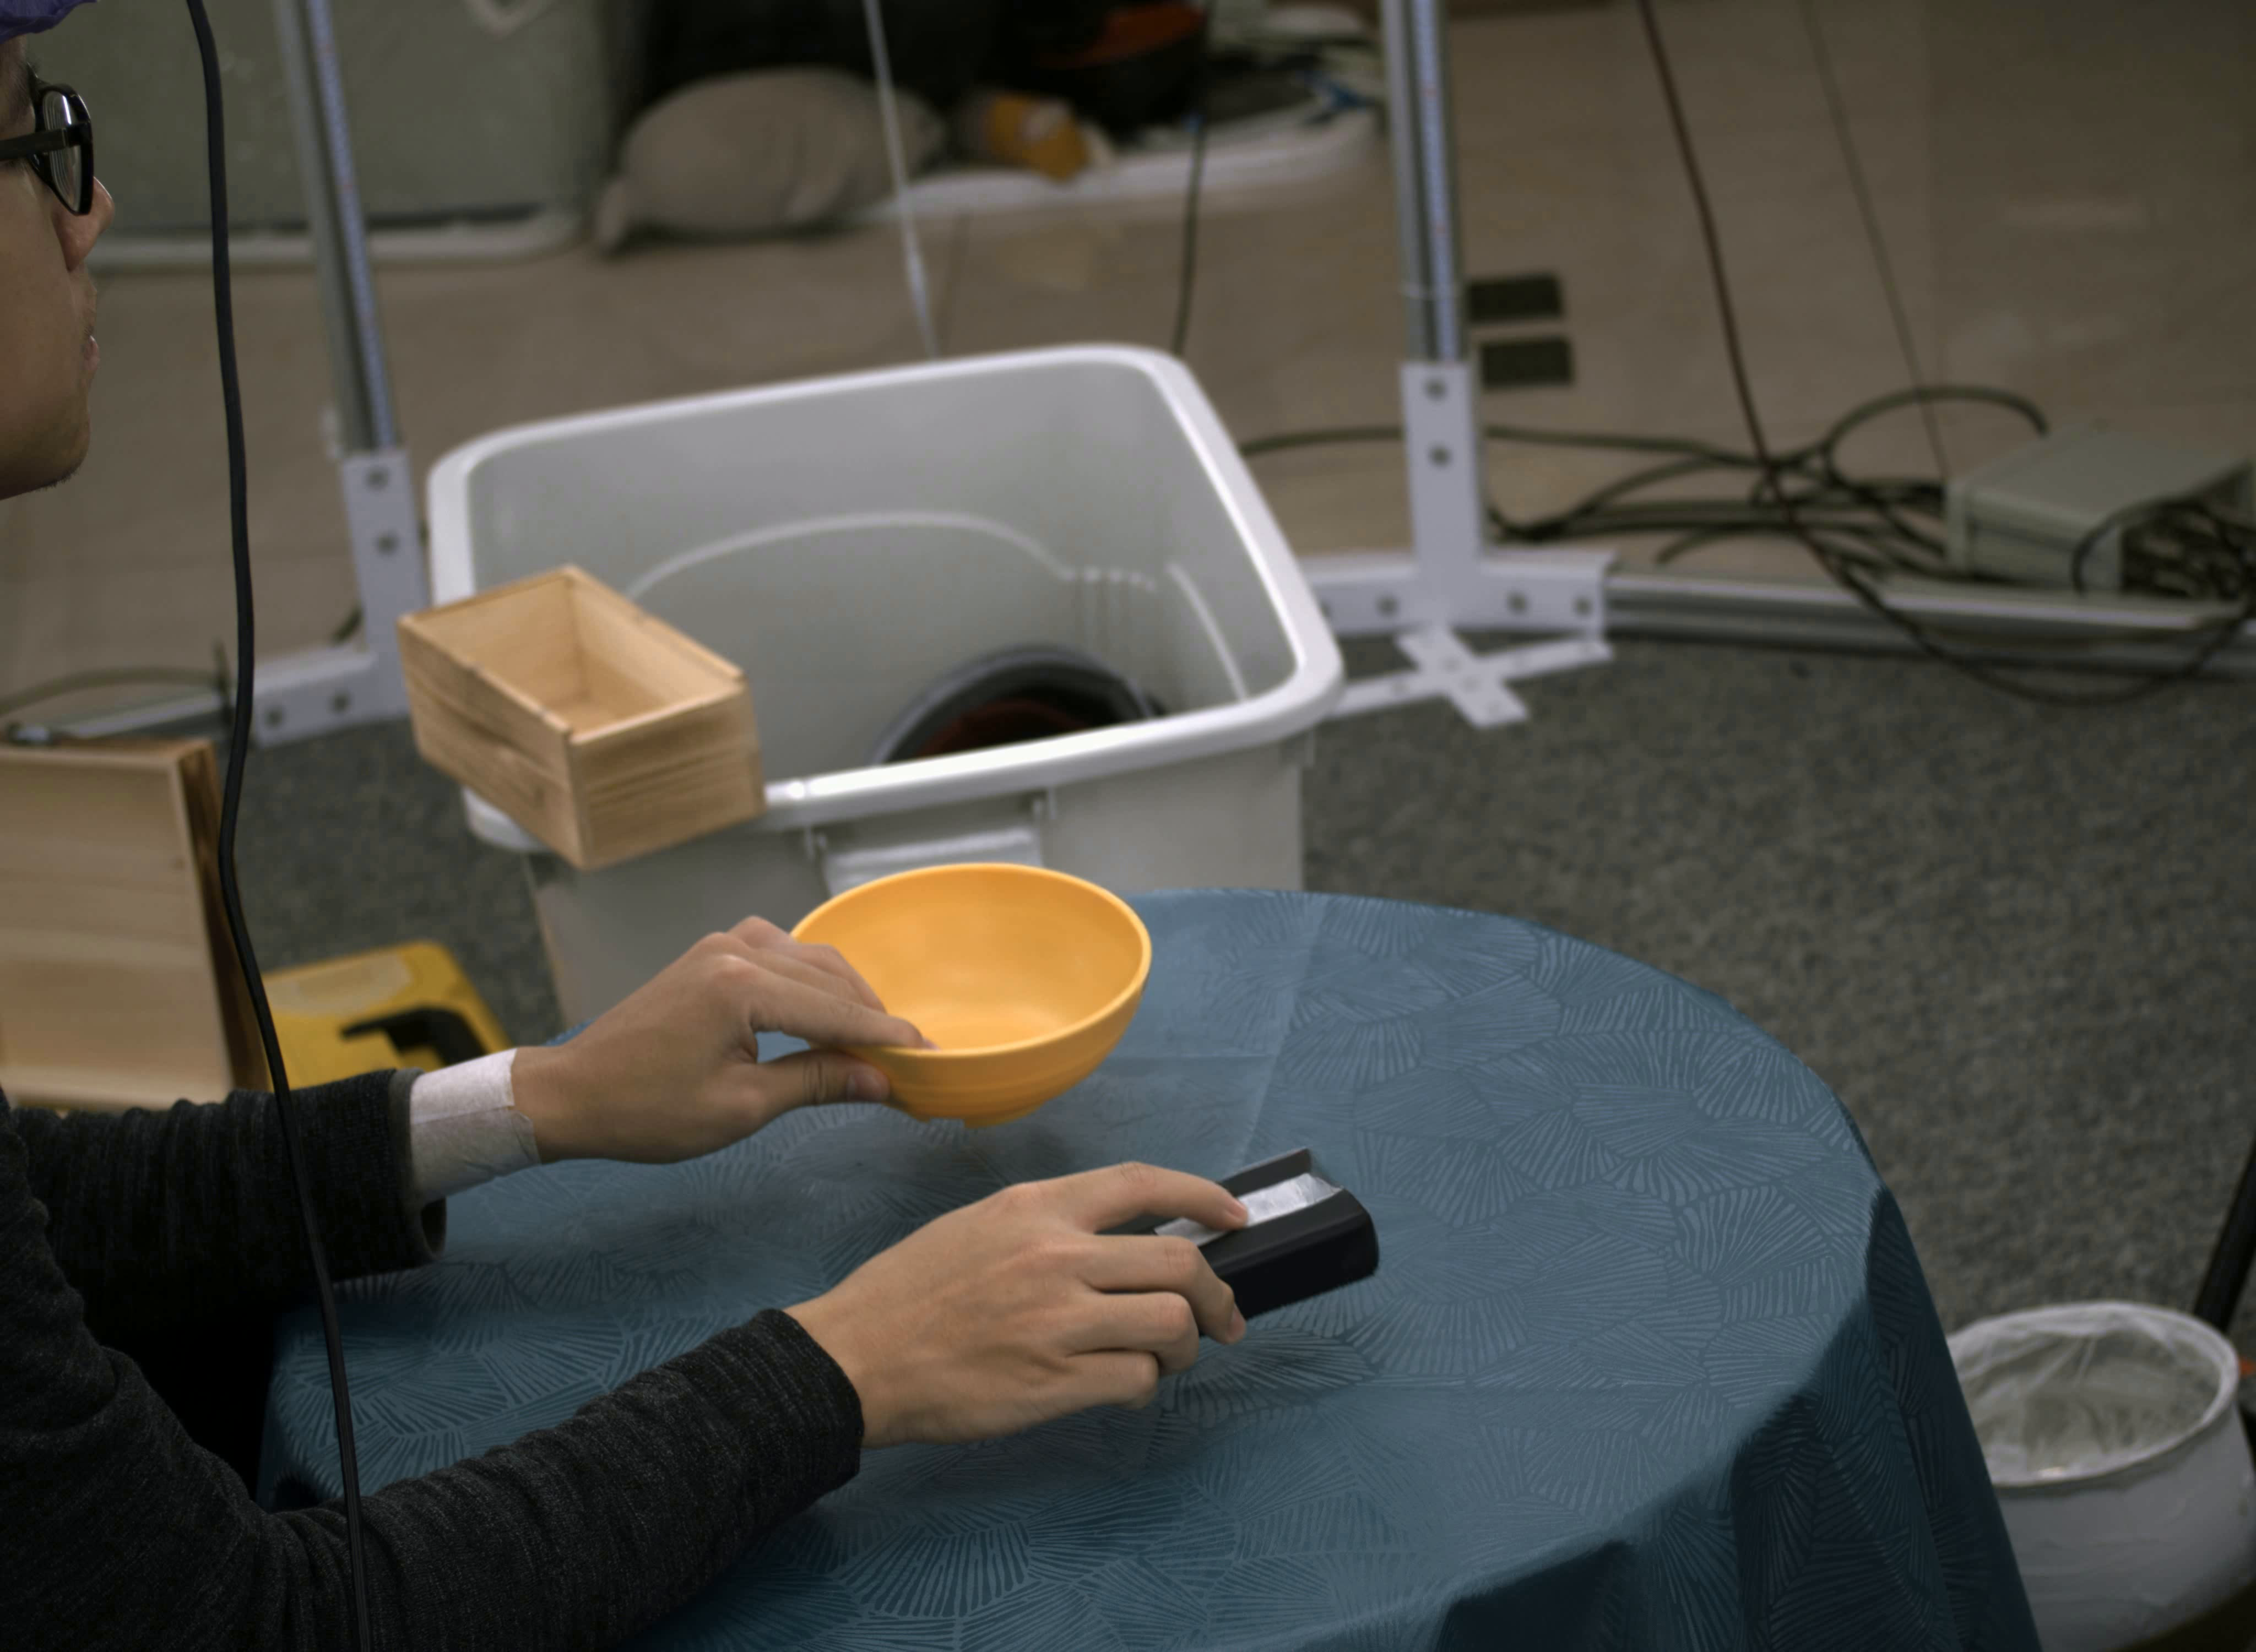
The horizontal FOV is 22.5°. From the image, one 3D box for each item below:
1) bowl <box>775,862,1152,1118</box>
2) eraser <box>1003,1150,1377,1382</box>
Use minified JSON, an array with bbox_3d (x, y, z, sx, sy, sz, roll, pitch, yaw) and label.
[{"bbox_3d":[-0.062,0.072,2.186,0.145,0.061,0.143,-2,28,1],"label":"bowl"},{"bbox_3d":[0.023,0.153,1.997,0.125,0.031,0.053,-19,35,-22],"label":"eraser"}]
